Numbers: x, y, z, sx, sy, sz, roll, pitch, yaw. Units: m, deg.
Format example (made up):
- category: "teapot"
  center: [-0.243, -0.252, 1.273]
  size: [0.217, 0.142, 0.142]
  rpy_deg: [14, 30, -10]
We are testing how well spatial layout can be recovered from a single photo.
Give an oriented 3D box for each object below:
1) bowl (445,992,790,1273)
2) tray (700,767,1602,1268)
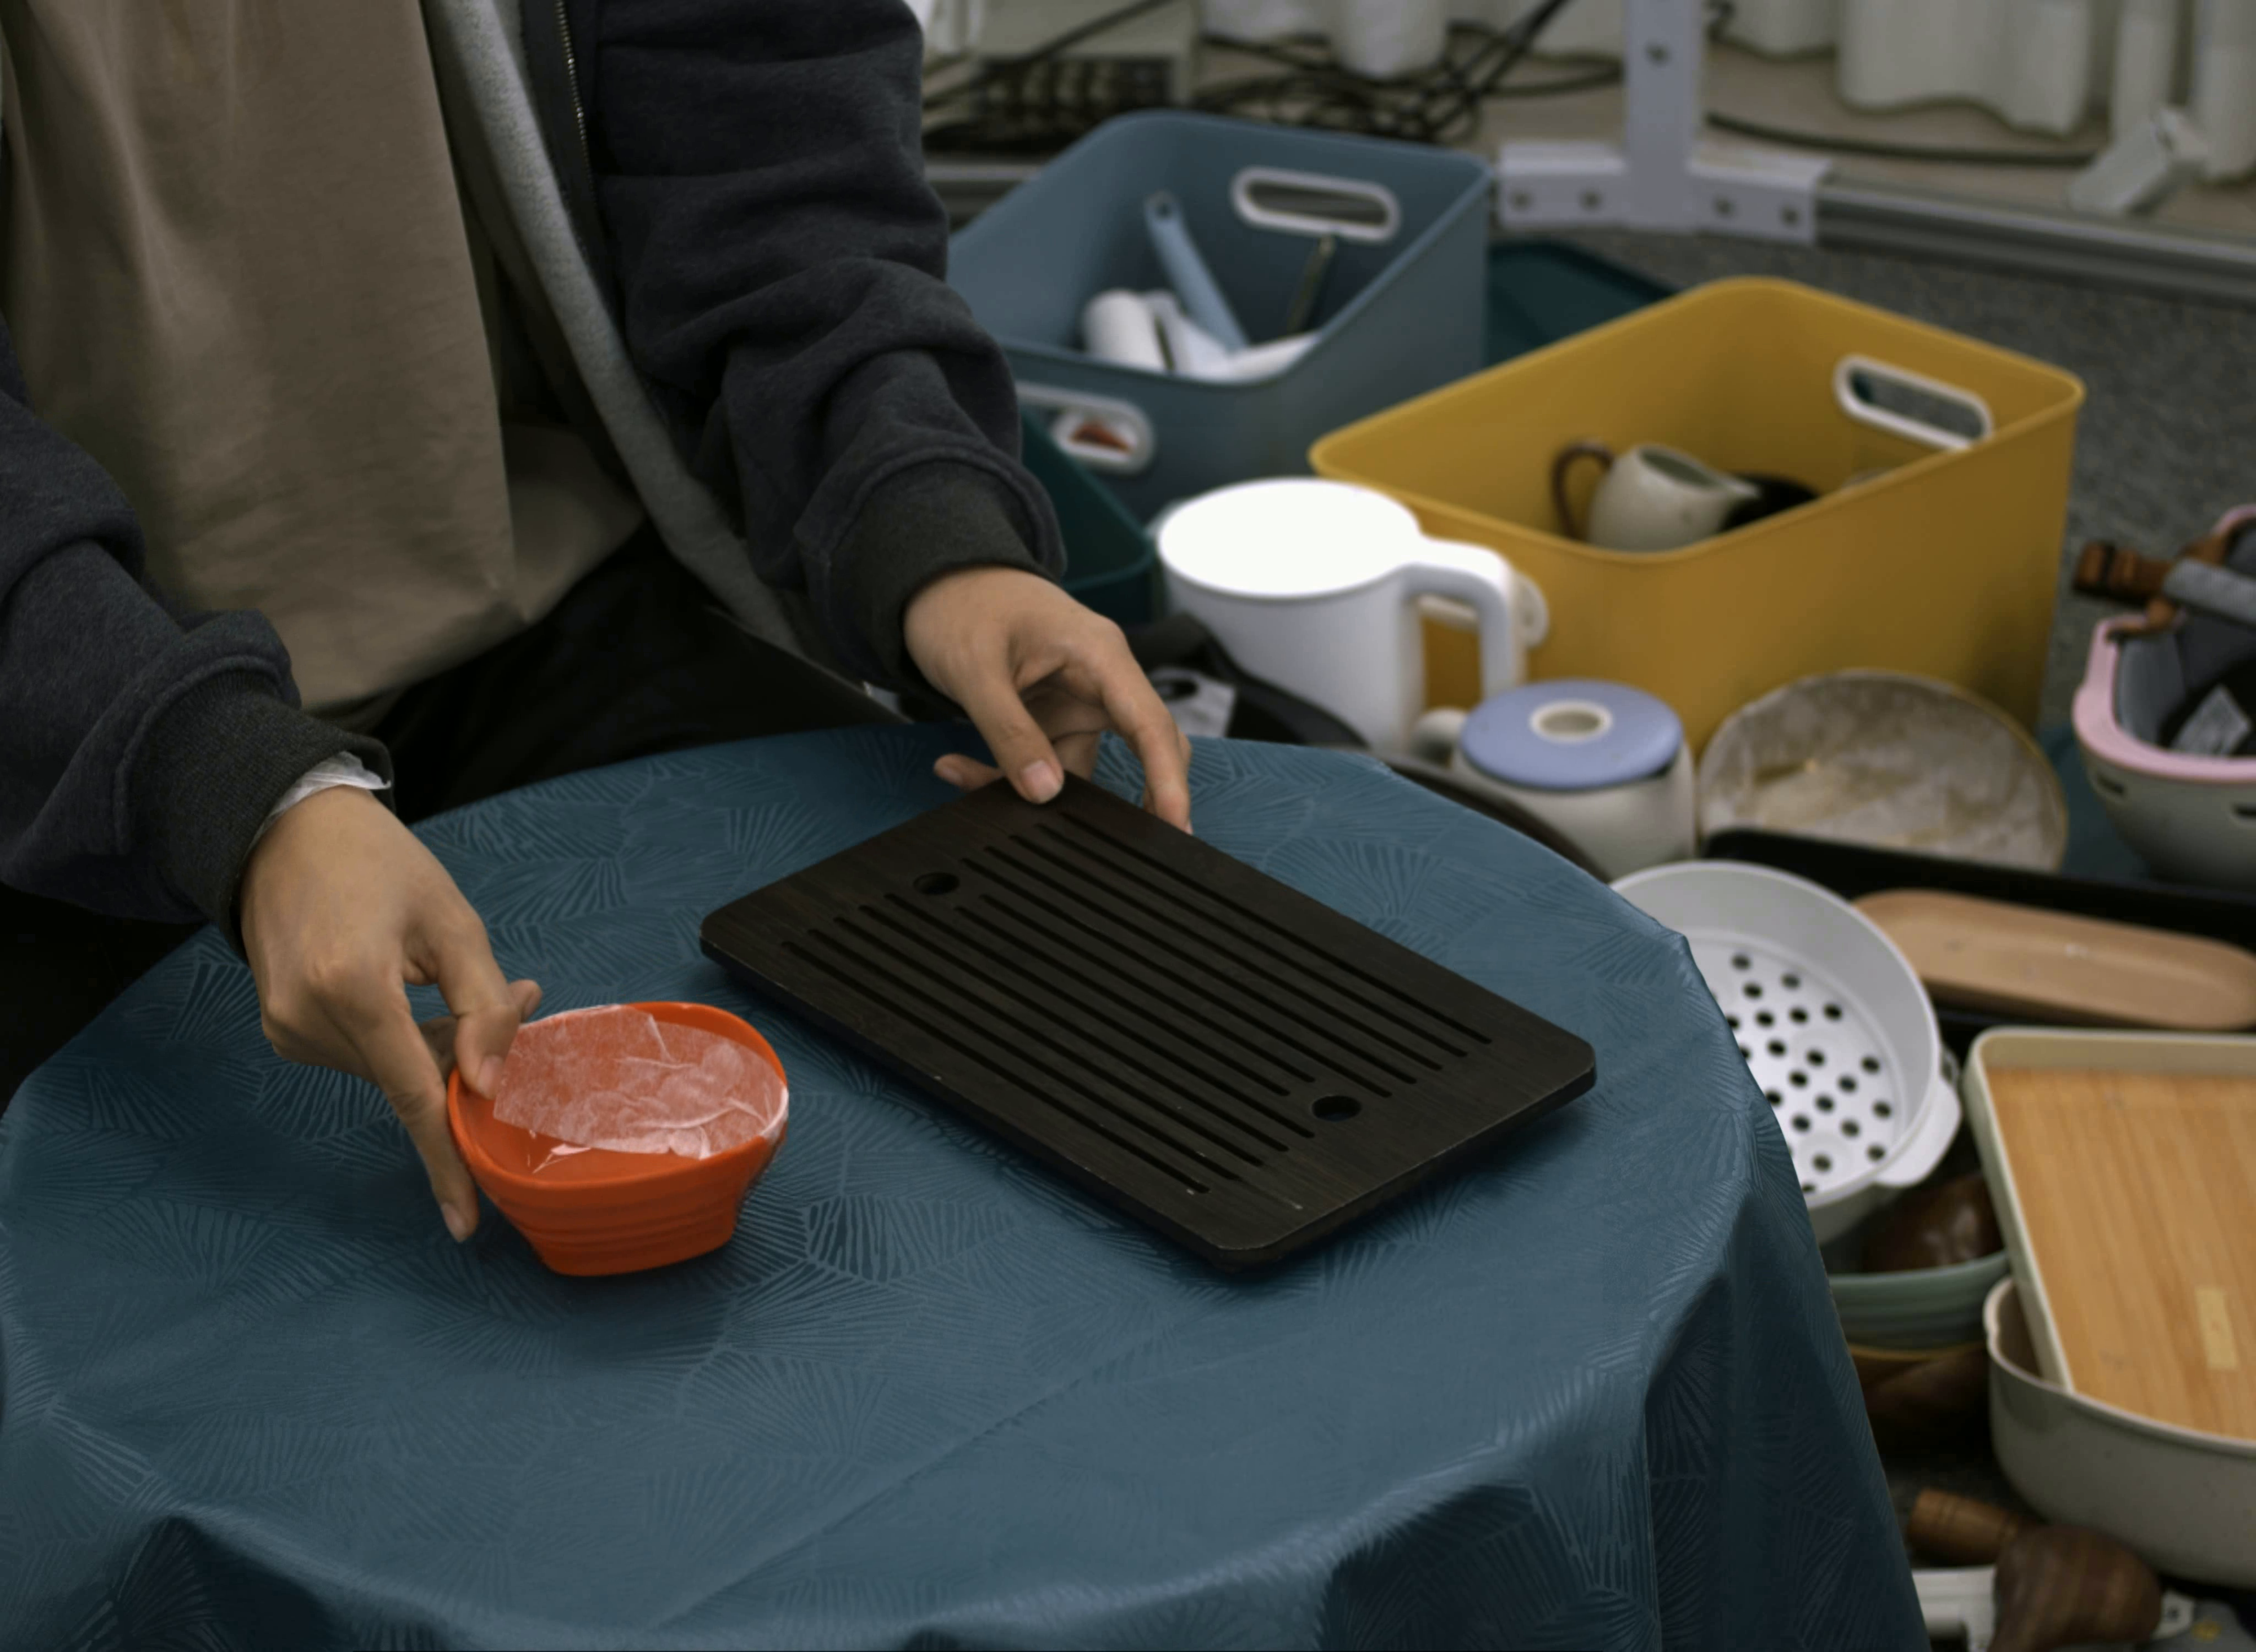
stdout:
- category: "bowl"
  center: [-0.165, 0.105, 1.840]
  size: [0.118, 0.051, 0.121]
  rpy_deg: [-2, 29, 2]
- category: "tray"
  center: [0.004, 0.063, 1.948]
  size: [0.172, 0.018, 0.306]
  rpy_deg: [-25, 35, -33]
